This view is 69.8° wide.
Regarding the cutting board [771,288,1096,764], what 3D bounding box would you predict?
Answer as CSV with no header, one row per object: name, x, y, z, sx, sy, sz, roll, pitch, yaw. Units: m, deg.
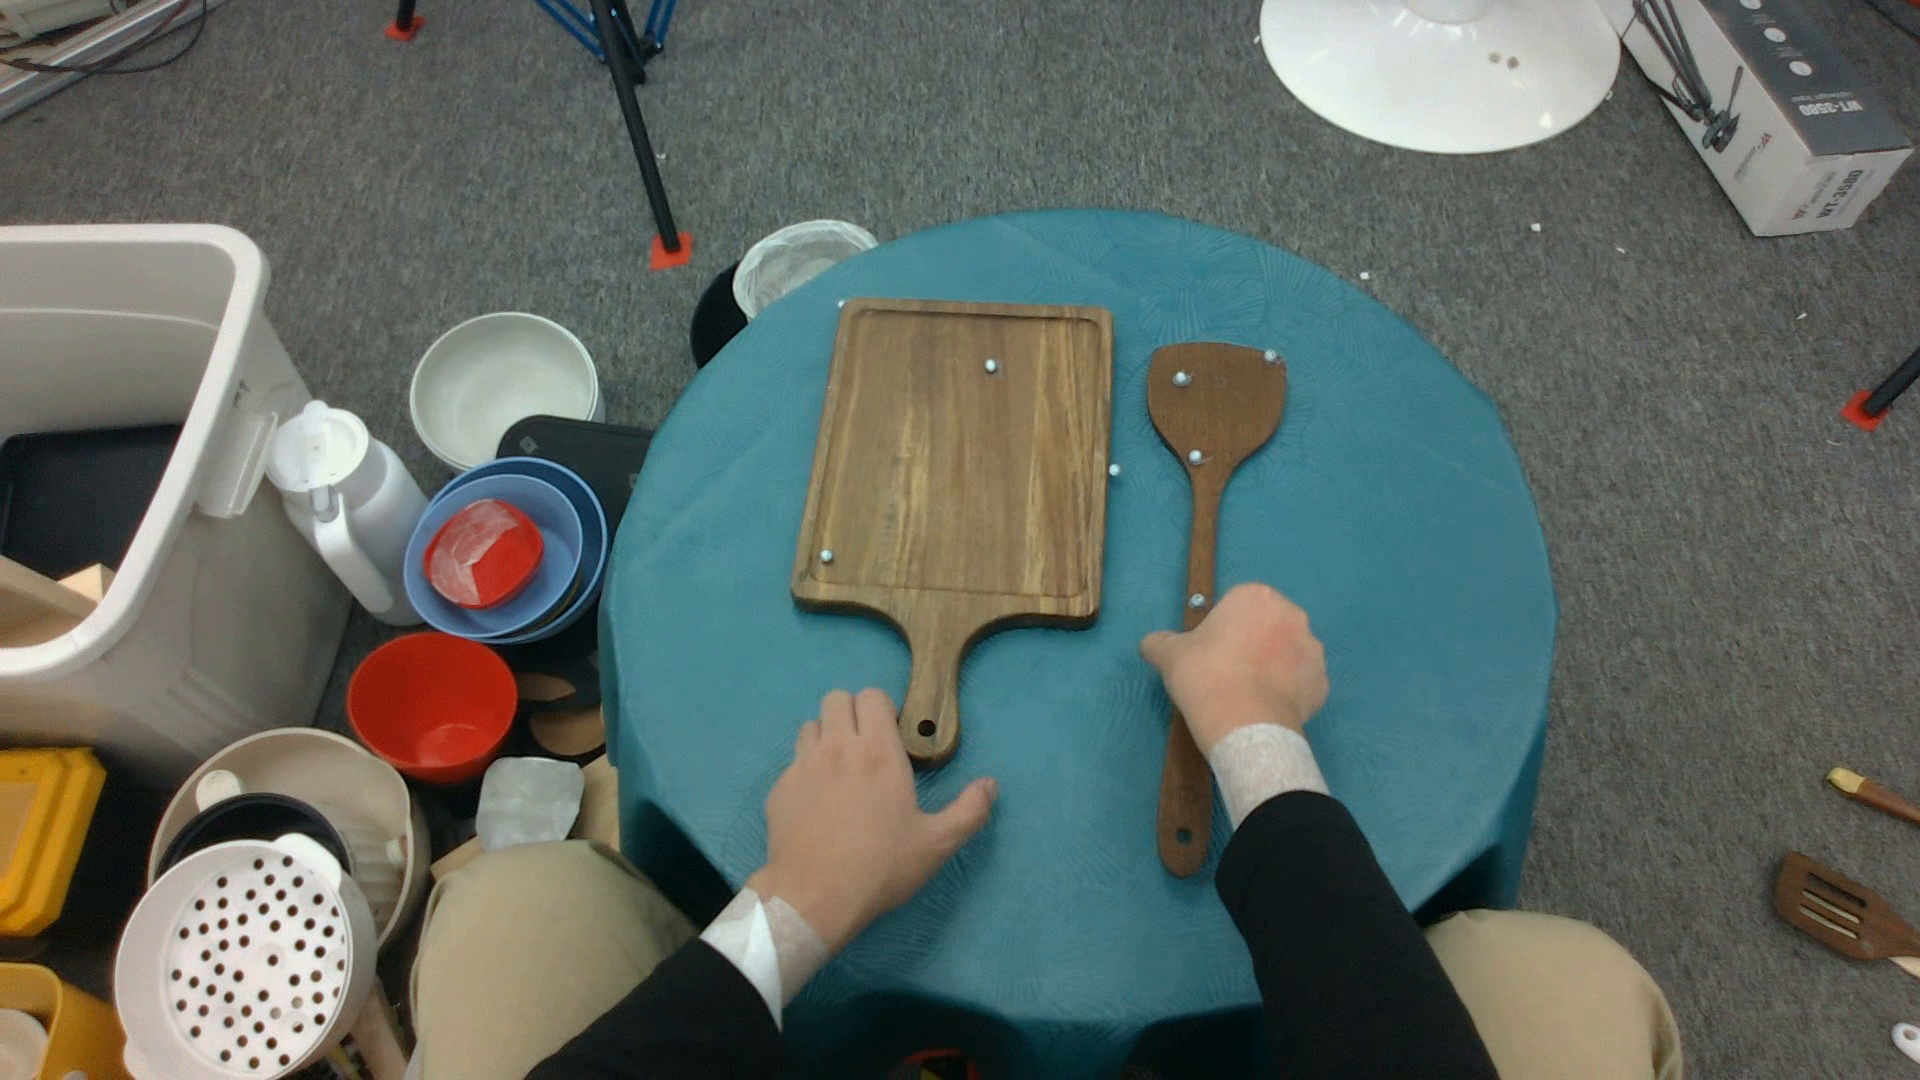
cutting board,-0.015,-0.024,0.892,0.201,0.023,0.353,3,59,4

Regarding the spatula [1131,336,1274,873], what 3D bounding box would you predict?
spatula,0.141,0.020,0.859,0.096,0.016,0.388,6,57,7
